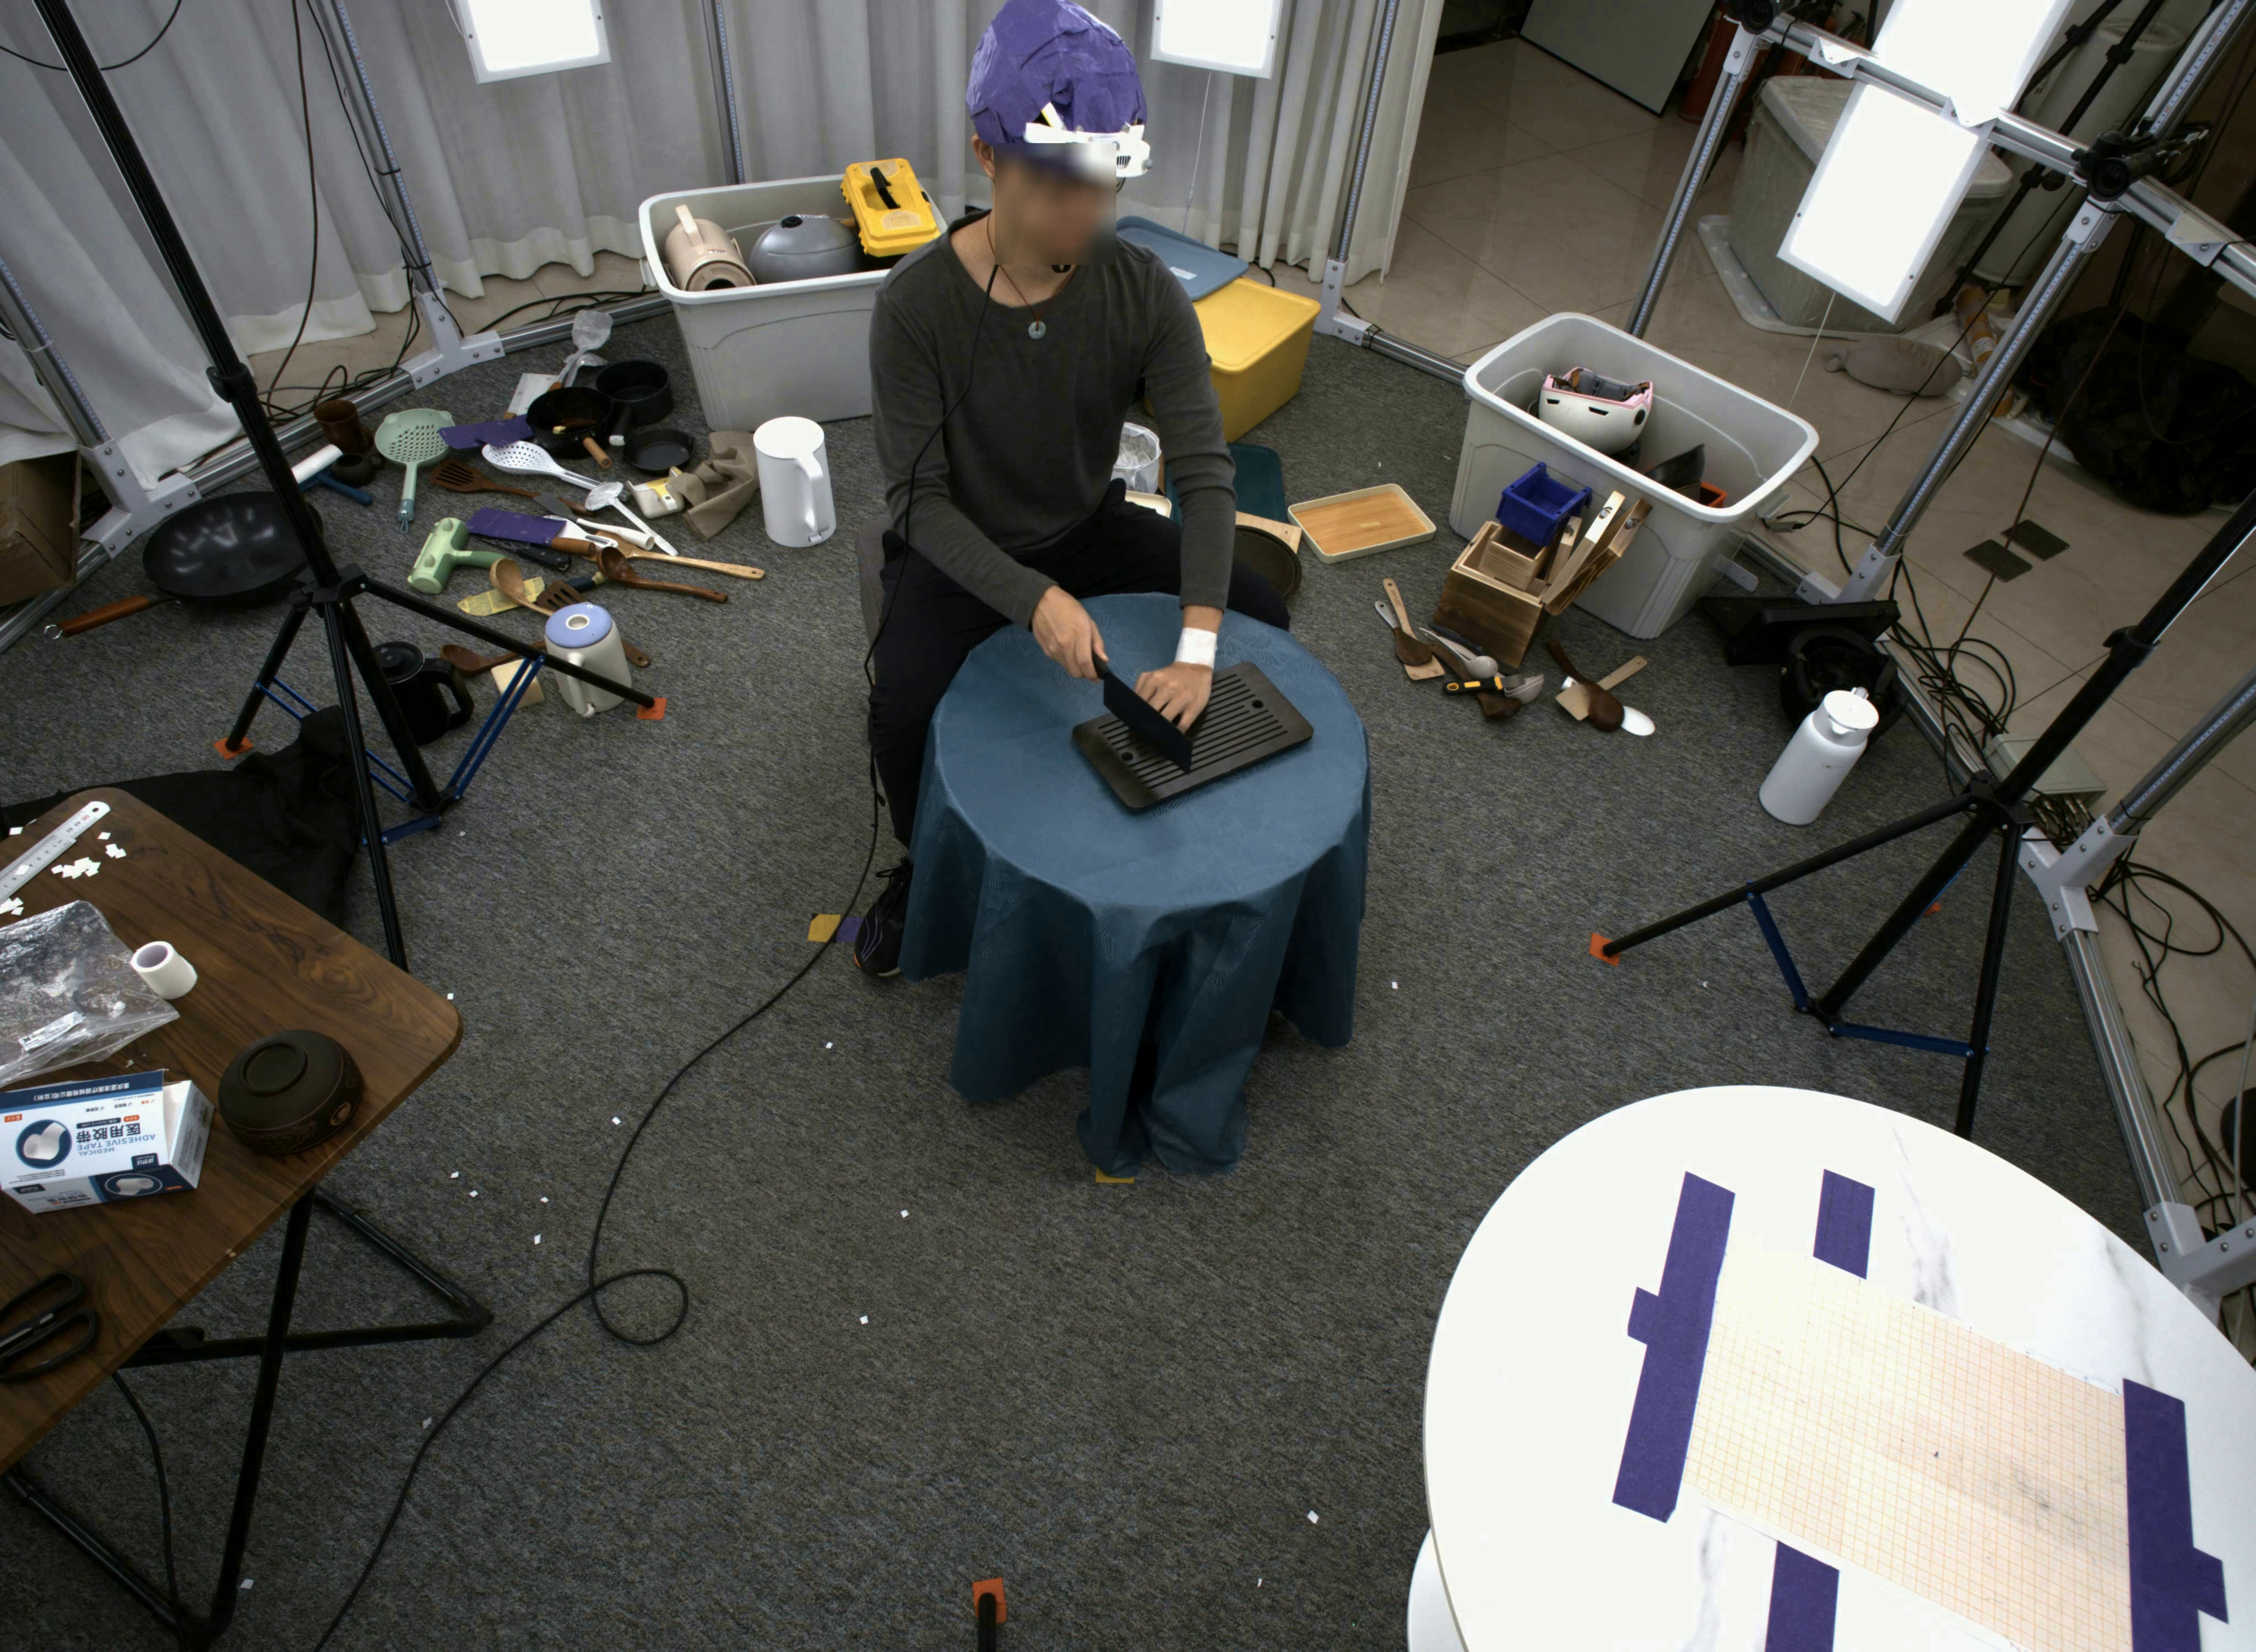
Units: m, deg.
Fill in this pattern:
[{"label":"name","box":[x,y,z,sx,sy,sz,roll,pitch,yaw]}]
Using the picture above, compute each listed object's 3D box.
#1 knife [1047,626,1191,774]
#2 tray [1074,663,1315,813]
[{"label":"knife","box":[-0.014,-0.174,1.704,0.021,0.079,0.308,-26,56,-28]},{"label":"tray","box":[0.092,-0.125,1.770,0.307,0.018,0.174,-22,53,-22]}]
